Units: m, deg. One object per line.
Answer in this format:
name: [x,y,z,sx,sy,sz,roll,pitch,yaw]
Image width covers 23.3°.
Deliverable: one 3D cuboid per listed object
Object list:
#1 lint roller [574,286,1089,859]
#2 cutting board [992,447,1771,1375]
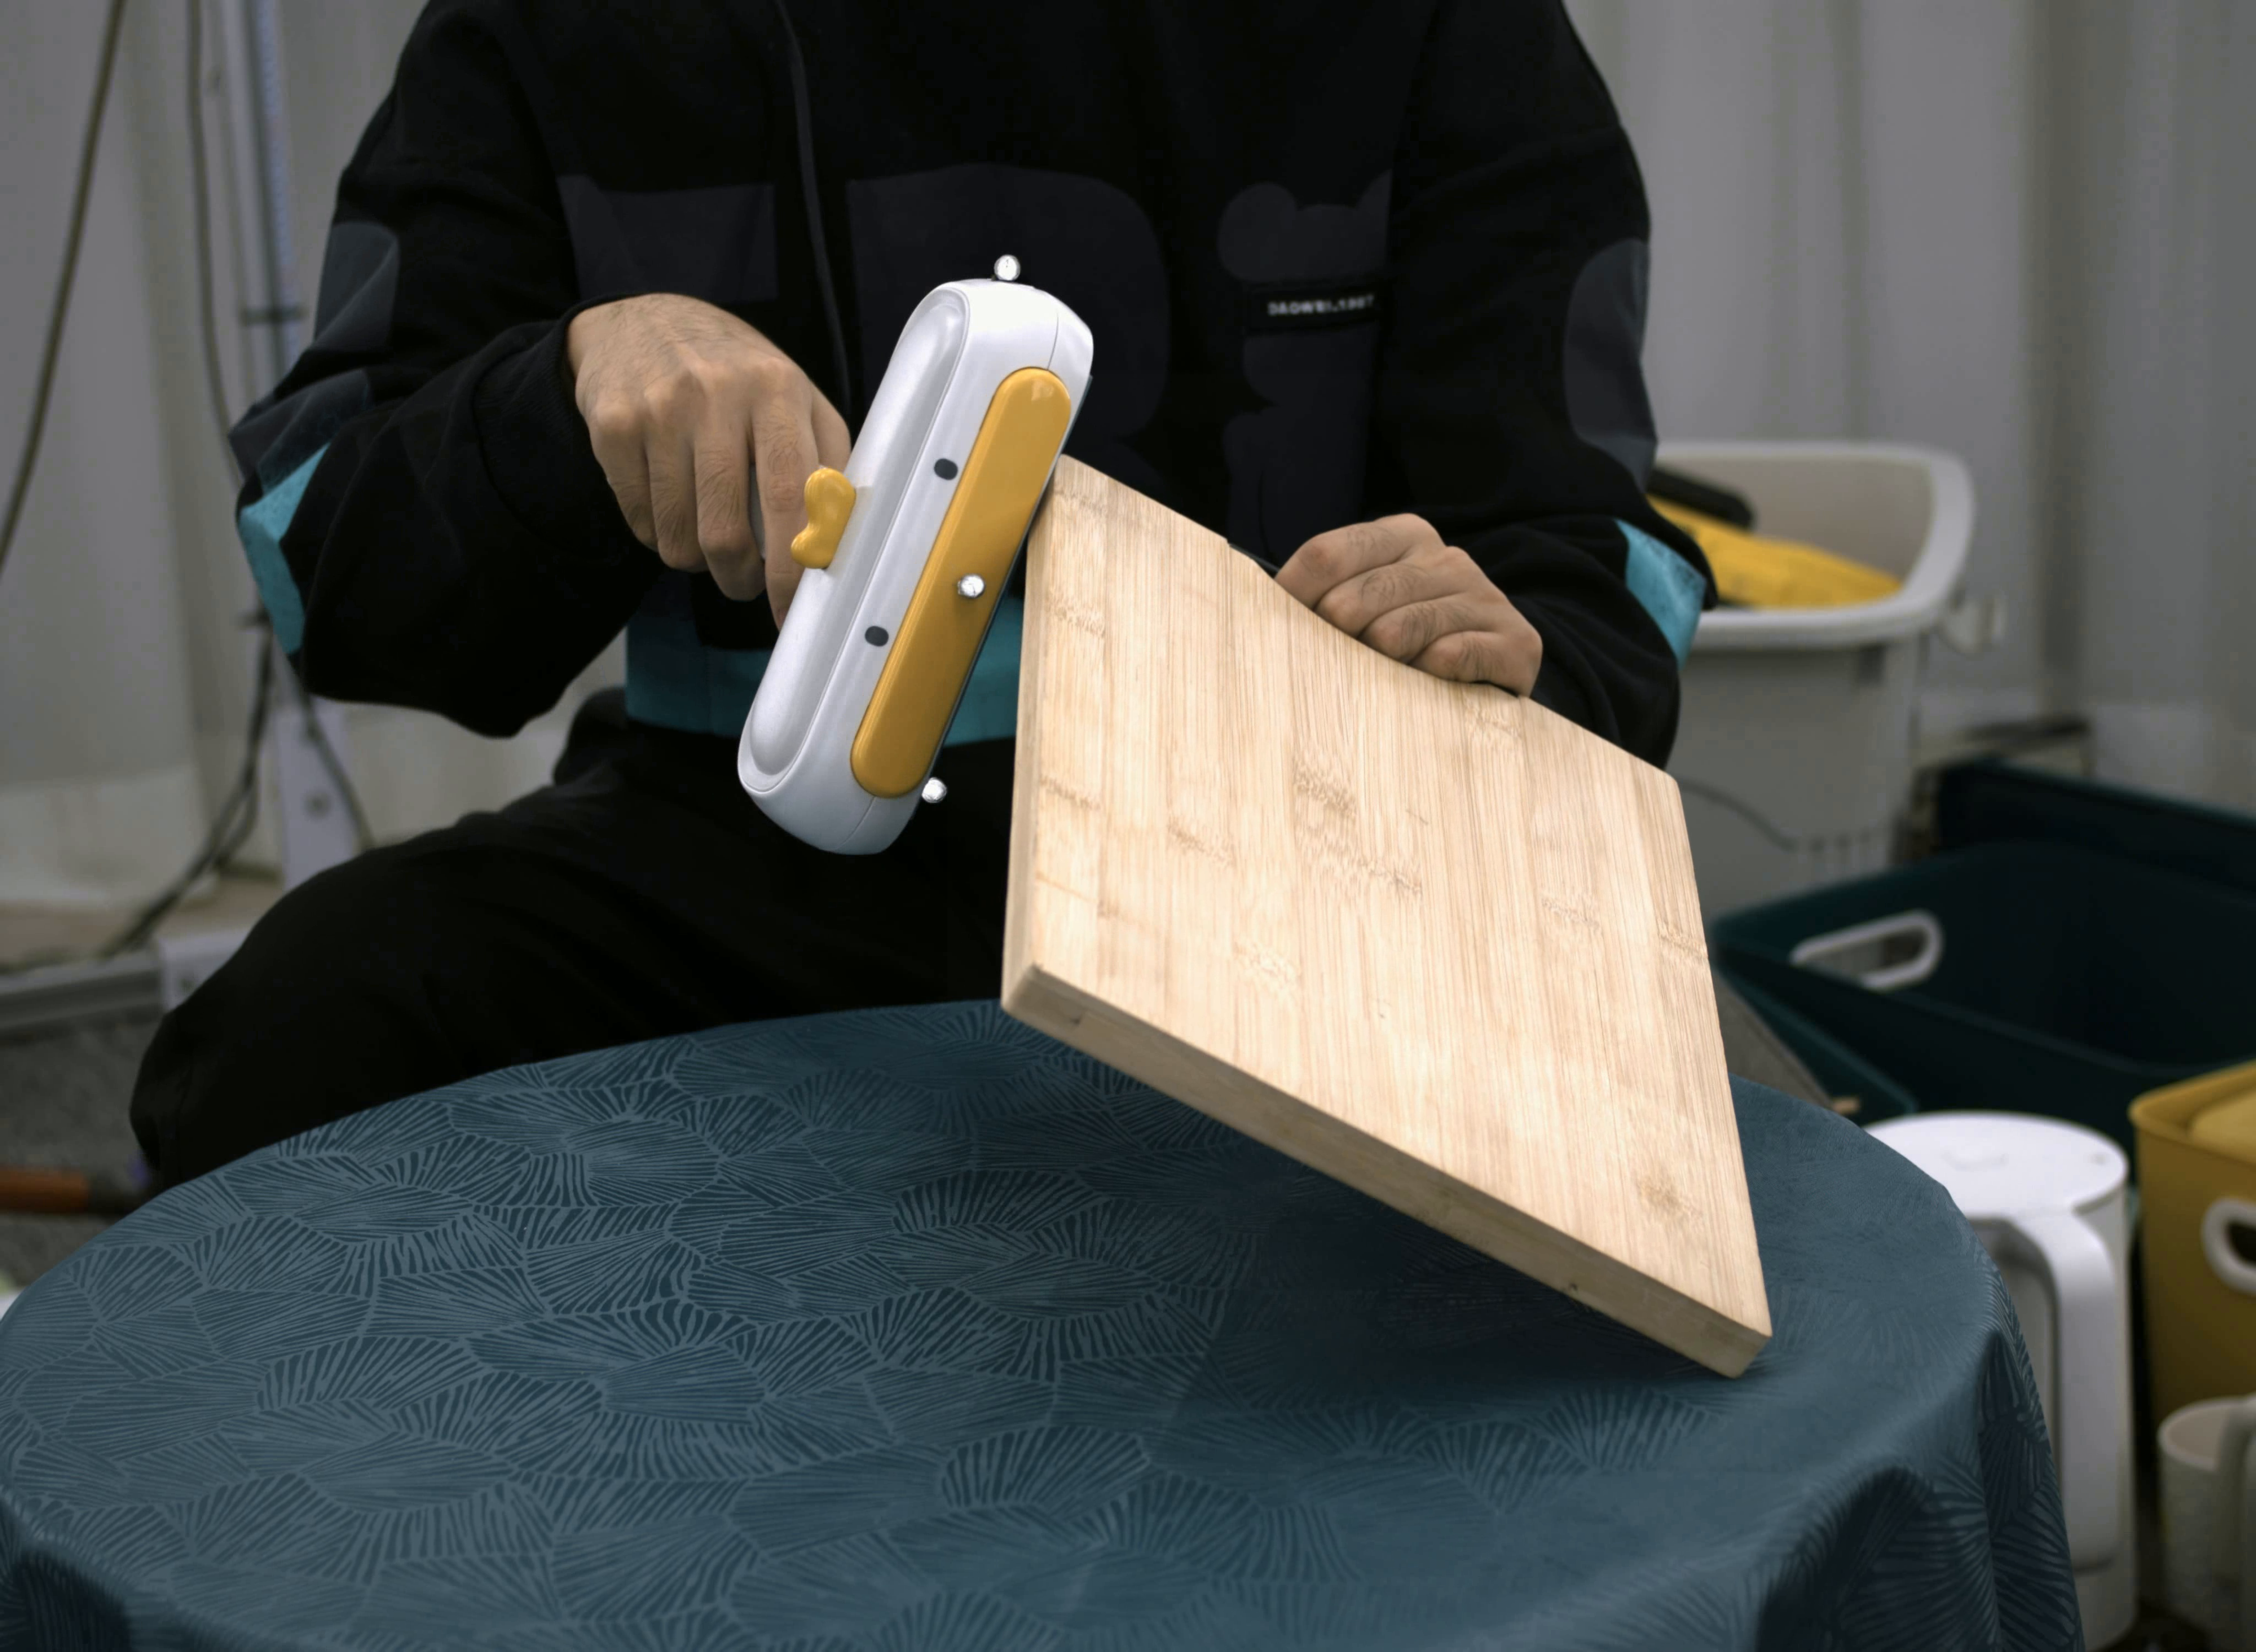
lint roller: [-0.109,-0.088,1.790,0.073,0.194,0.193,25,-12,-34]
cutting board: [0.074,0.015,1.657,0.249,0.023,0.353,27,25,-13]
